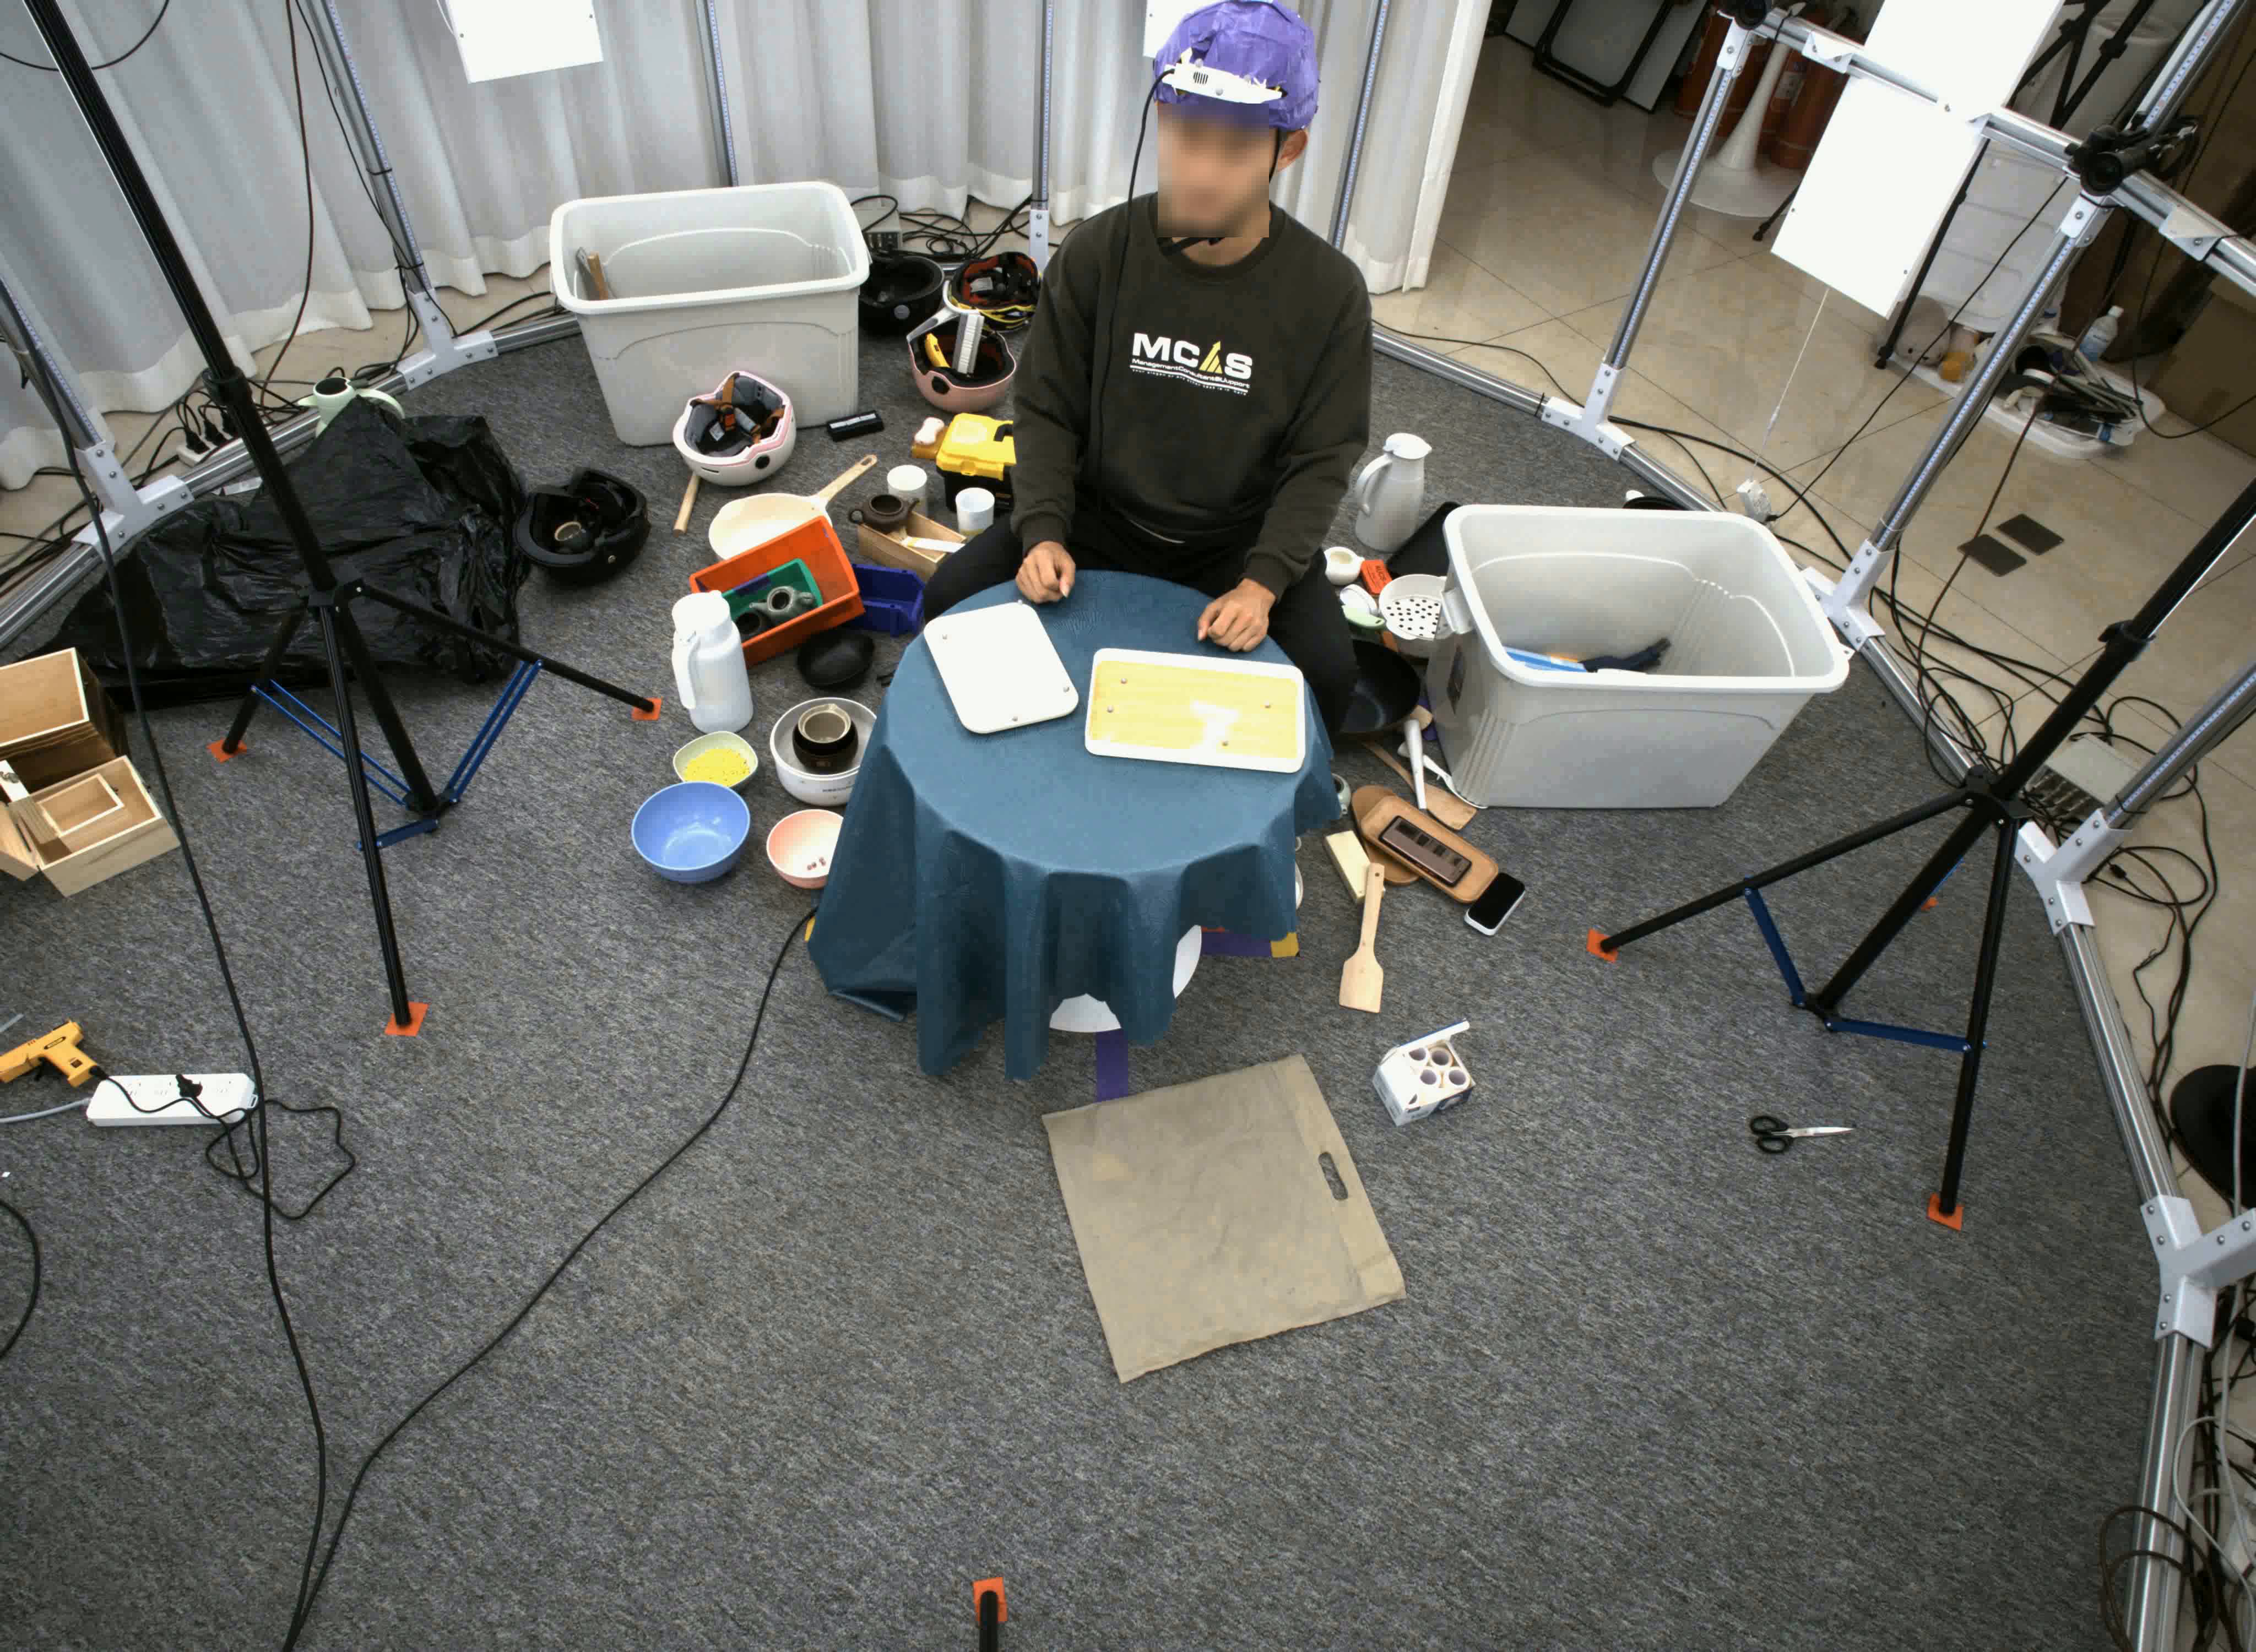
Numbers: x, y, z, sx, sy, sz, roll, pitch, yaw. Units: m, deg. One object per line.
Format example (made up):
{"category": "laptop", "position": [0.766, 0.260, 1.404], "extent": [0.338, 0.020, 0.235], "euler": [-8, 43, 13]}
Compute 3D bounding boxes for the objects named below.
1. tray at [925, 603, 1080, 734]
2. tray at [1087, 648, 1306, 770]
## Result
{"category": "tray", "position": [-0.181, -0.227, 1.837], "extent": [0.171, 0.017, 0.245], "euler": [-15, 52, -16]}
{"category": "tray", "position": [0.097, -0.166, 1.799], "extent": [0.300, 0.027, 0.196], "euler": [5, 48, 0]}
